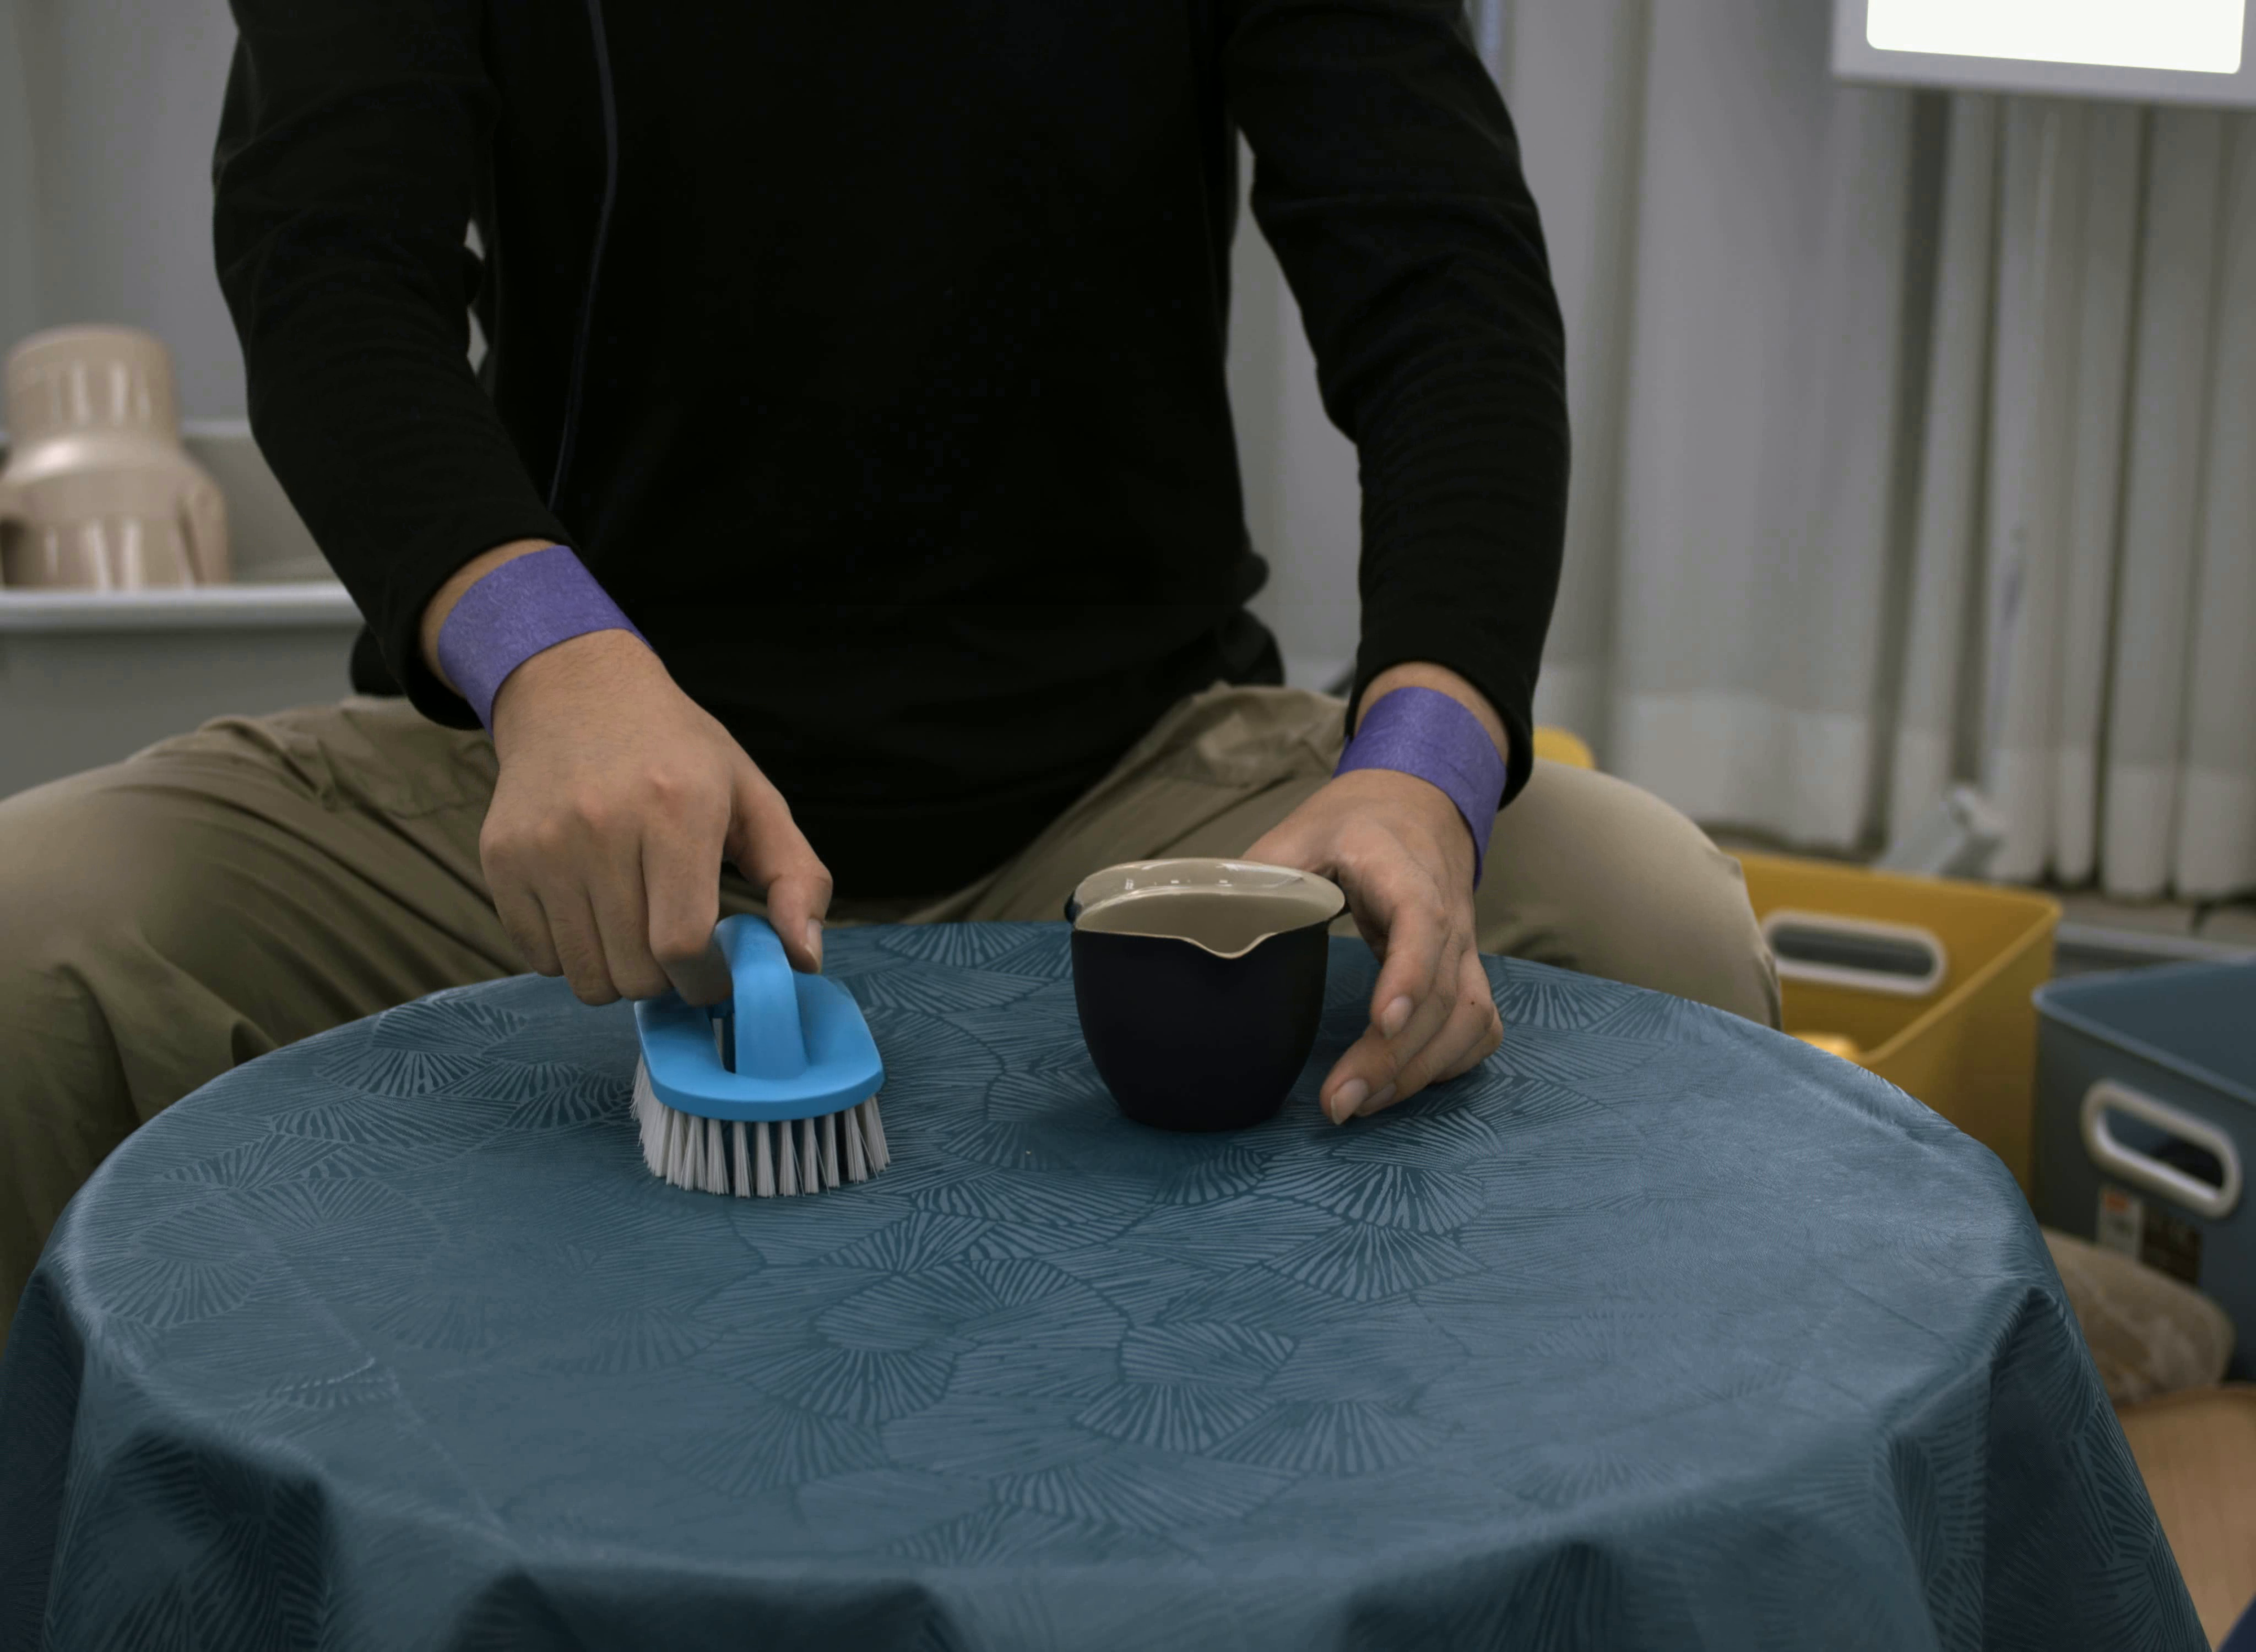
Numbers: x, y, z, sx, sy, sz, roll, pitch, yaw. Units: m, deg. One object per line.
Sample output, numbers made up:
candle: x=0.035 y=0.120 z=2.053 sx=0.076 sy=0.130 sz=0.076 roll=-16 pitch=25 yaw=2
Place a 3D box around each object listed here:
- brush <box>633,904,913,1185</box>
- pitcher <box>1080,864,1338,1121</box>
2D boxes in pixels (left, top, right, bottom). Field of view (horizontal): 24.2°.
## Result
brush: x=-0.115 y=0.063 z=1.670 sx=0.084 sy=0.064 sz=0.141 roll=-6 pitch=15 yaw=-7
pitcher: x=0.026 y=0.055 z=1.689 sx=0.083 sy=0.072 sz=0.095 roll=0 pitch=17 yaw=-4
